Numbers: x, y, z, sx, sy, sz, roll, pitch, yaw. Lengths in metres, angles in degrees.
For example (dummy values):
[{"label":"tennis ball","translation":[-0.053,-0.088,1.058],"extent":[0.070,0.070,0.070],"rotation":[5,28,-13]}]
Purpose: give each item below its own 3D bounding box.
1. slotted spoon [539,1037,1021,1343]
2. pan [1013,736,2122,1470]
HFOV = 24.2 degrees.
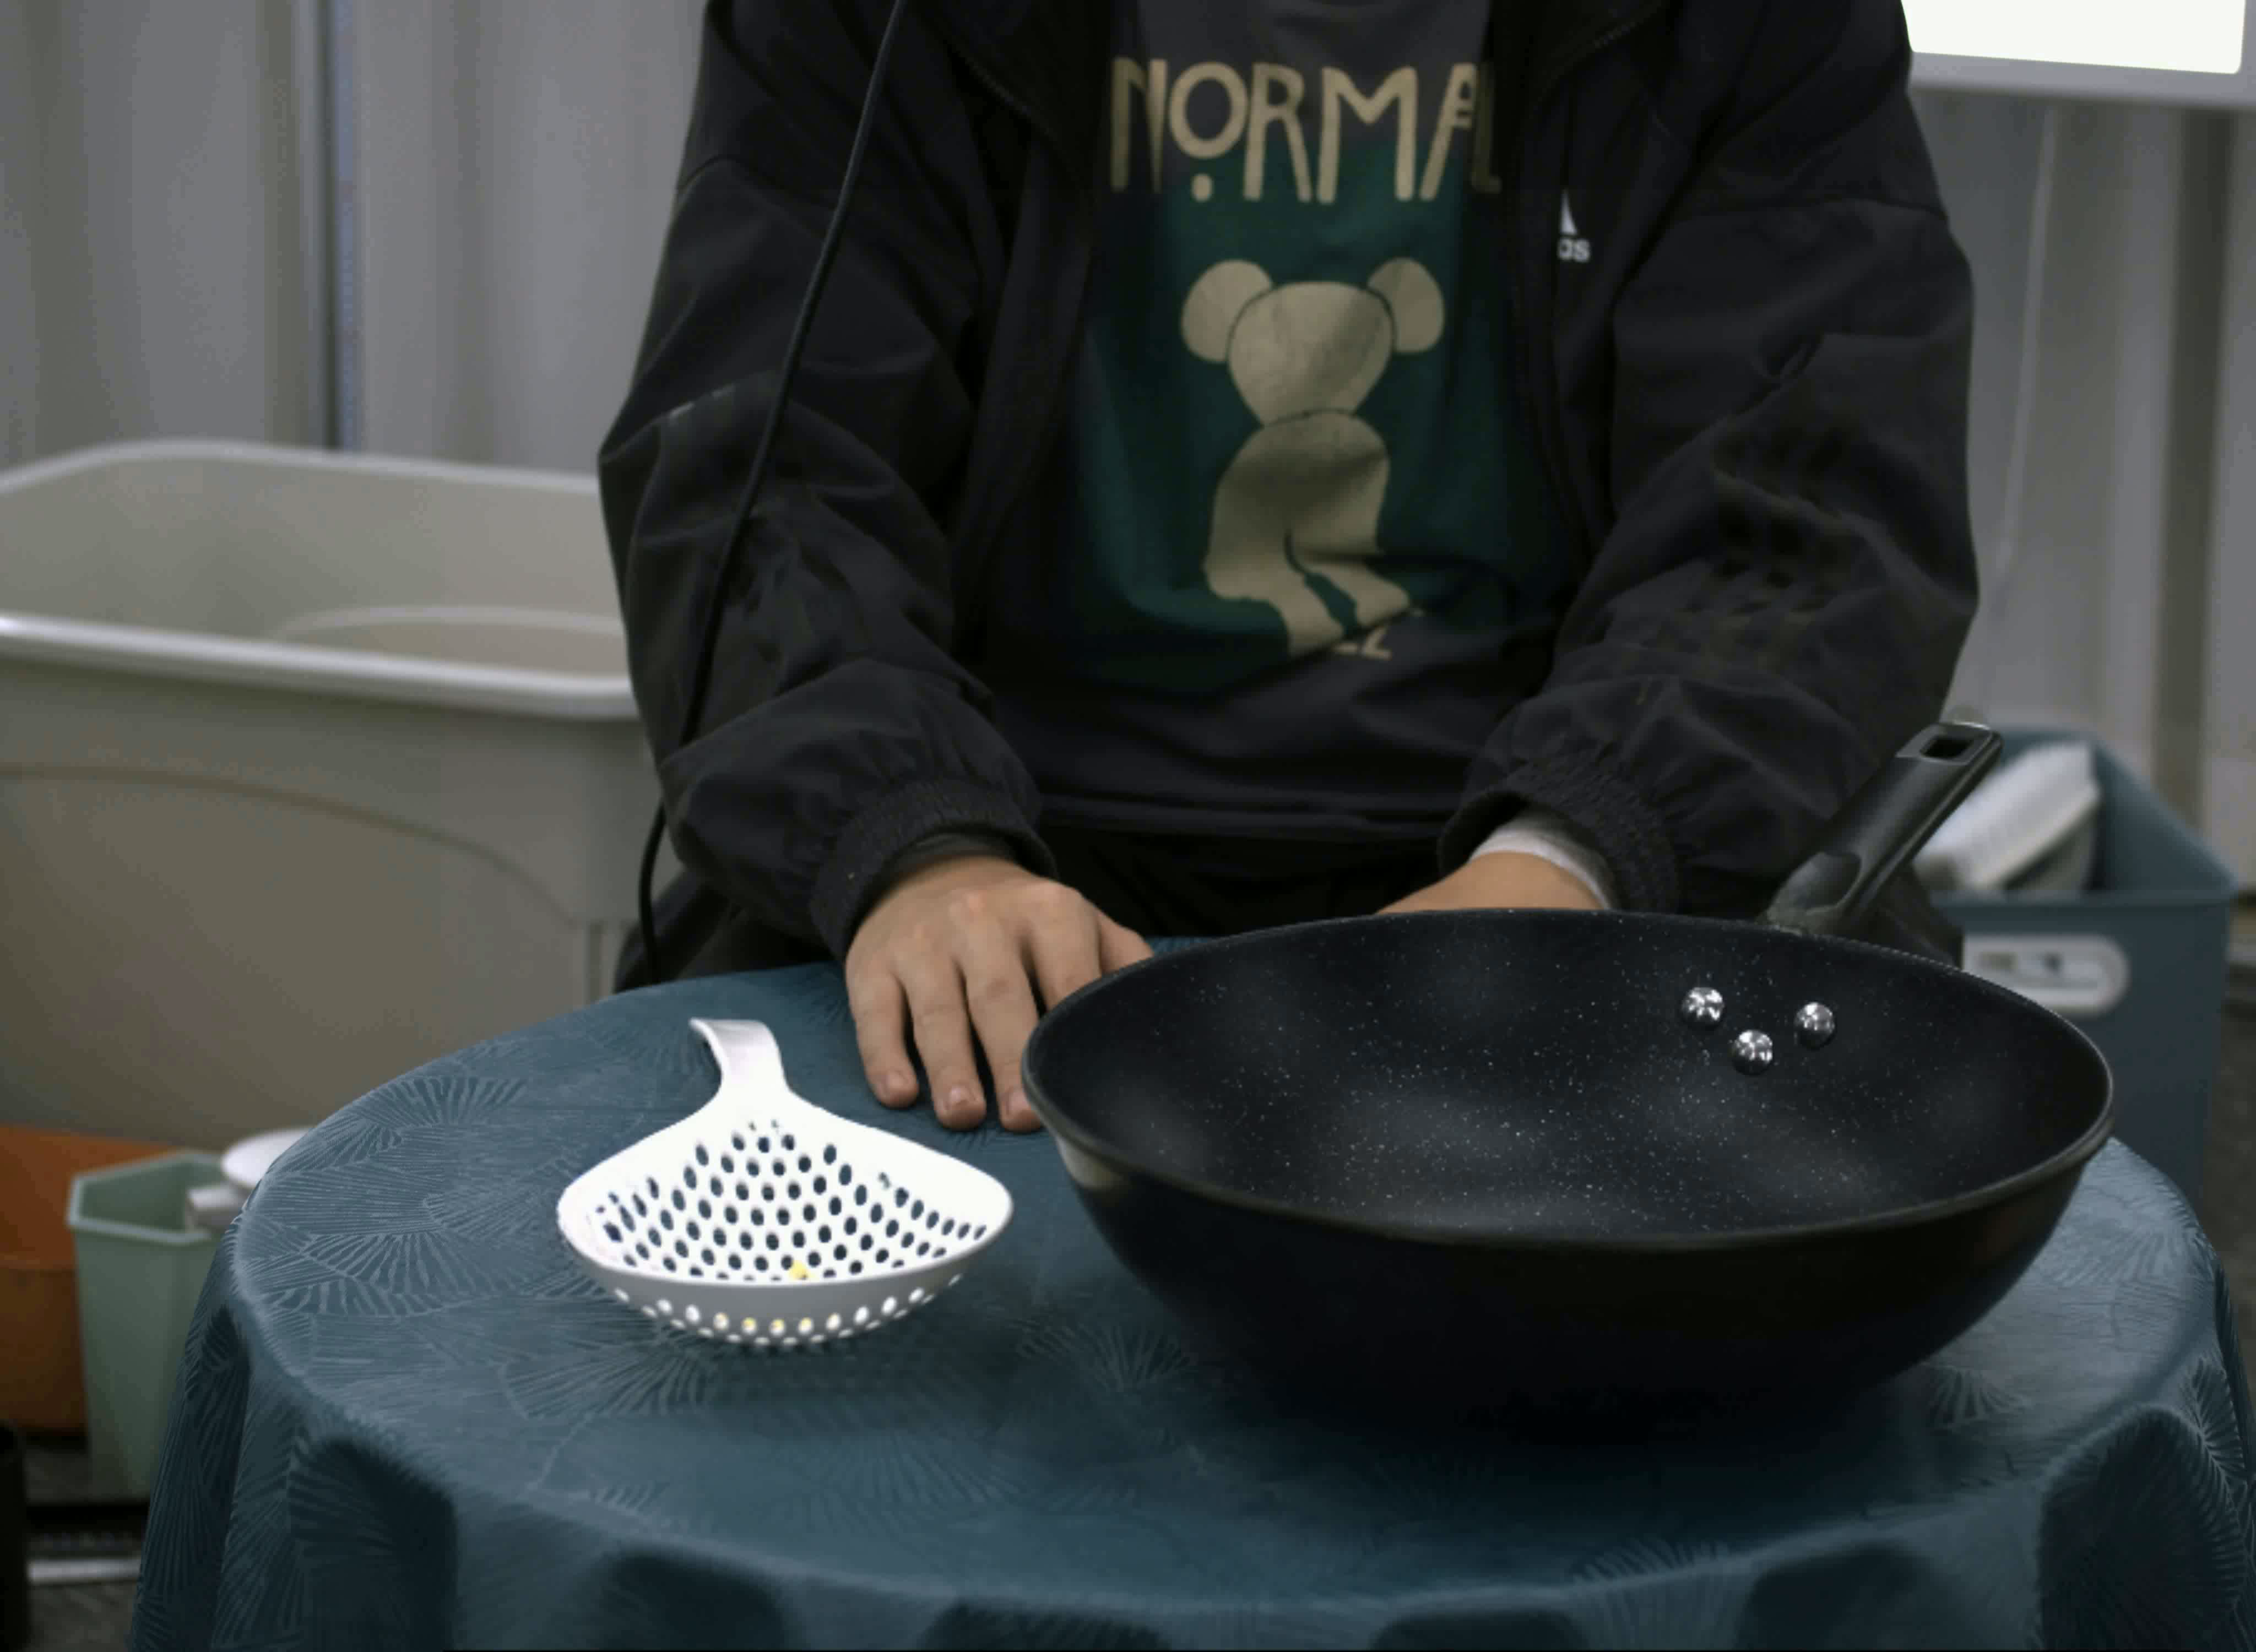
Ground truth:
[{"label":"slotted spoon","translation":[-0.112,0.096,1.602],"extent":[0.136,0.051,0.345],"rotation":[-3,16,-7]},{"label":"pan","translation":[0.162,0.079,1.554],"extent":[0.307,0.112,0.478],"rotation":[10,18,27]}]
